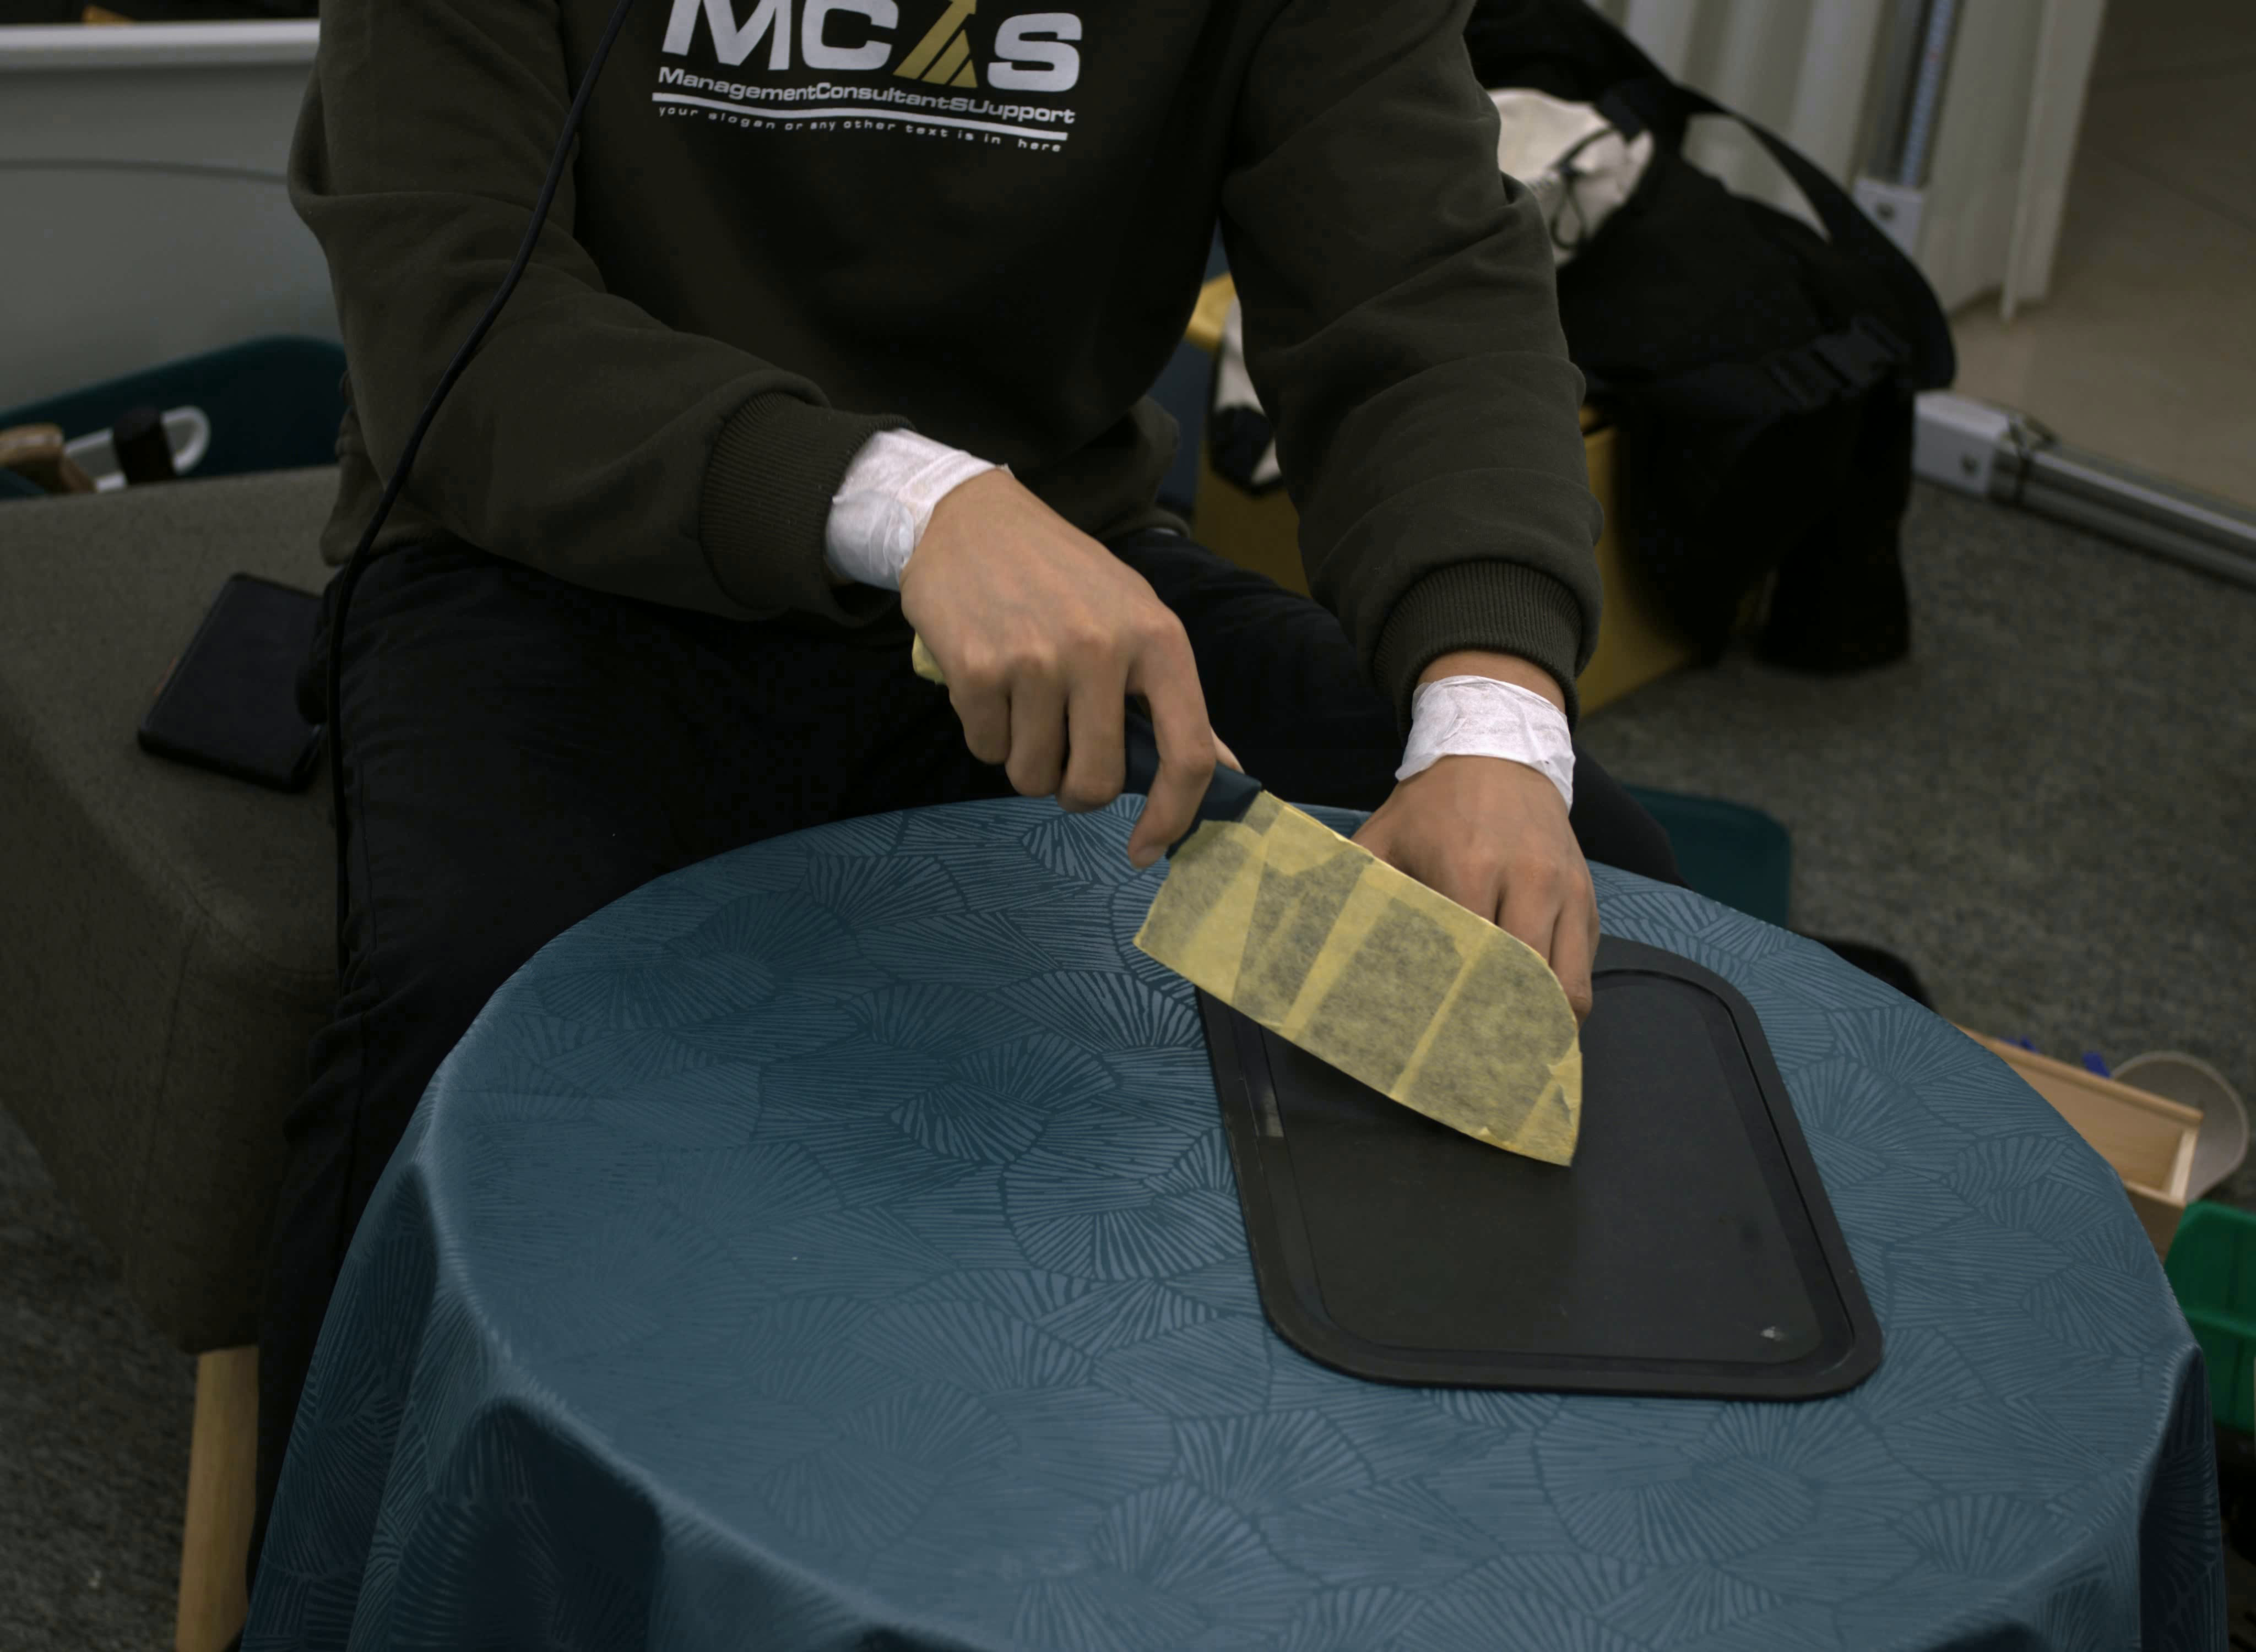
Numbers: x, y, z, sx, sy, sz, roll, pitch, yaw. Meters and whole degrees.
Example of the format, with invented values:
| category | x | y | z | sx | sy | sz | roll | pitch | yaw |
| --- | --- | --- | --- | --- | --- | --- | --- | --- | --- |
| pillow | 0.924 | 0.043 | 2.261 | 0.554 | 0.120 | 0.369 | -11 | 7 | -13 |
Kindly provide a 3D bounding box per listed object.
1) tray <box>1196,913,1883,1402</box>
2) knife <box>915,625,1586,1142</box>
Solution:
| category | x | y | z | sx | sy | sz | roll | pitch | yaw |
| --- | --- | --- | --- | --- | --- | --- | --- | --- | --- |
| tray | 0.136 | 0.107 | 1.861 | 0.210 | 0.010 | 0.328 | 3 | 27 | -7 |
| knife | 0.039 | 0.020 | 1.868 | 0.290 | 0.081 | 0.027 | 34 | 9 | 11 |
